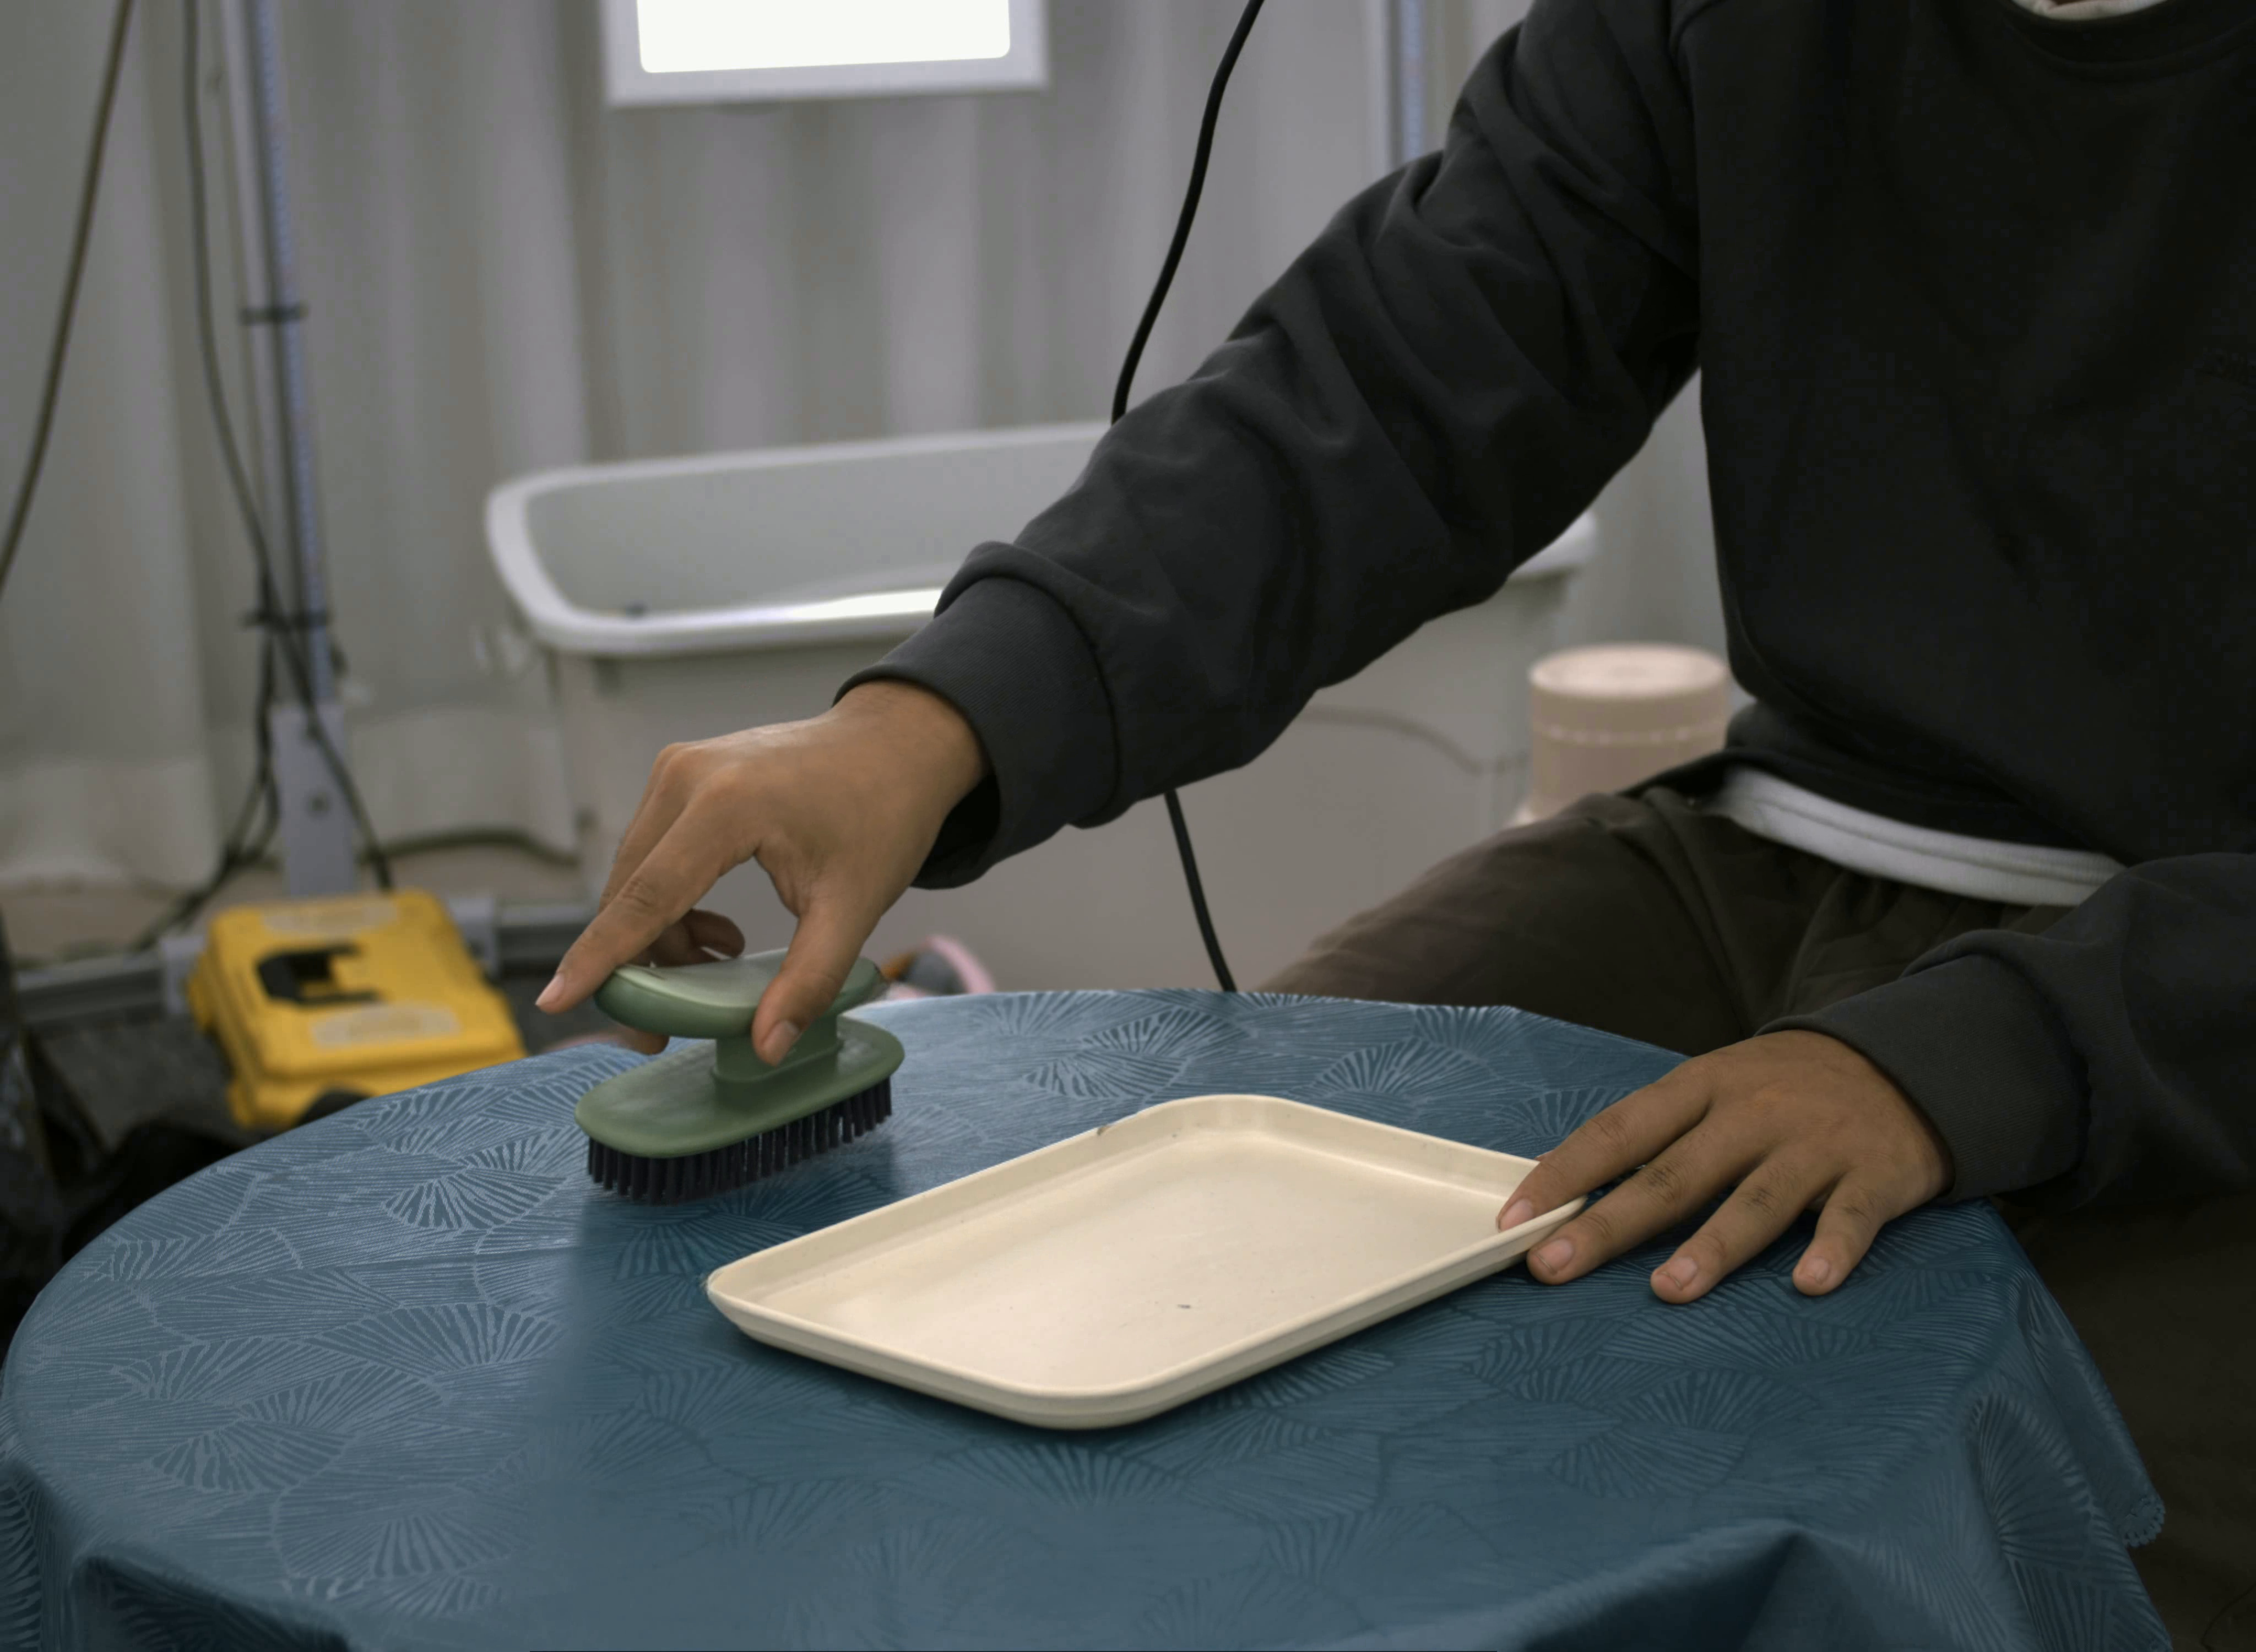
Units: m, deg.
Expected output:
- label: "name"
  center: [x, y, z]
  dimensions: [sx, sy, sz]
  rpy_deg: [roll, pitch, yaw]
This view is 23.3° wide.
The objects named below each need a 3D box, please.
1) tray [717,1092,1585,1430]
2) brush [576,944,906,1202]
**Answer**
- label: "tray"
  center: [0.009, 0.128, 1.630]
  dimensions: [0.172, 0.017, 0.239]
  rpy_deg: [12, 21, 42]
- label: "brush"
  center: [-0.125, 0.077, 1.755]
  dimensions: [0.060, 0.075, 0.122]
  rpy_deg: [22, 17, 38]
